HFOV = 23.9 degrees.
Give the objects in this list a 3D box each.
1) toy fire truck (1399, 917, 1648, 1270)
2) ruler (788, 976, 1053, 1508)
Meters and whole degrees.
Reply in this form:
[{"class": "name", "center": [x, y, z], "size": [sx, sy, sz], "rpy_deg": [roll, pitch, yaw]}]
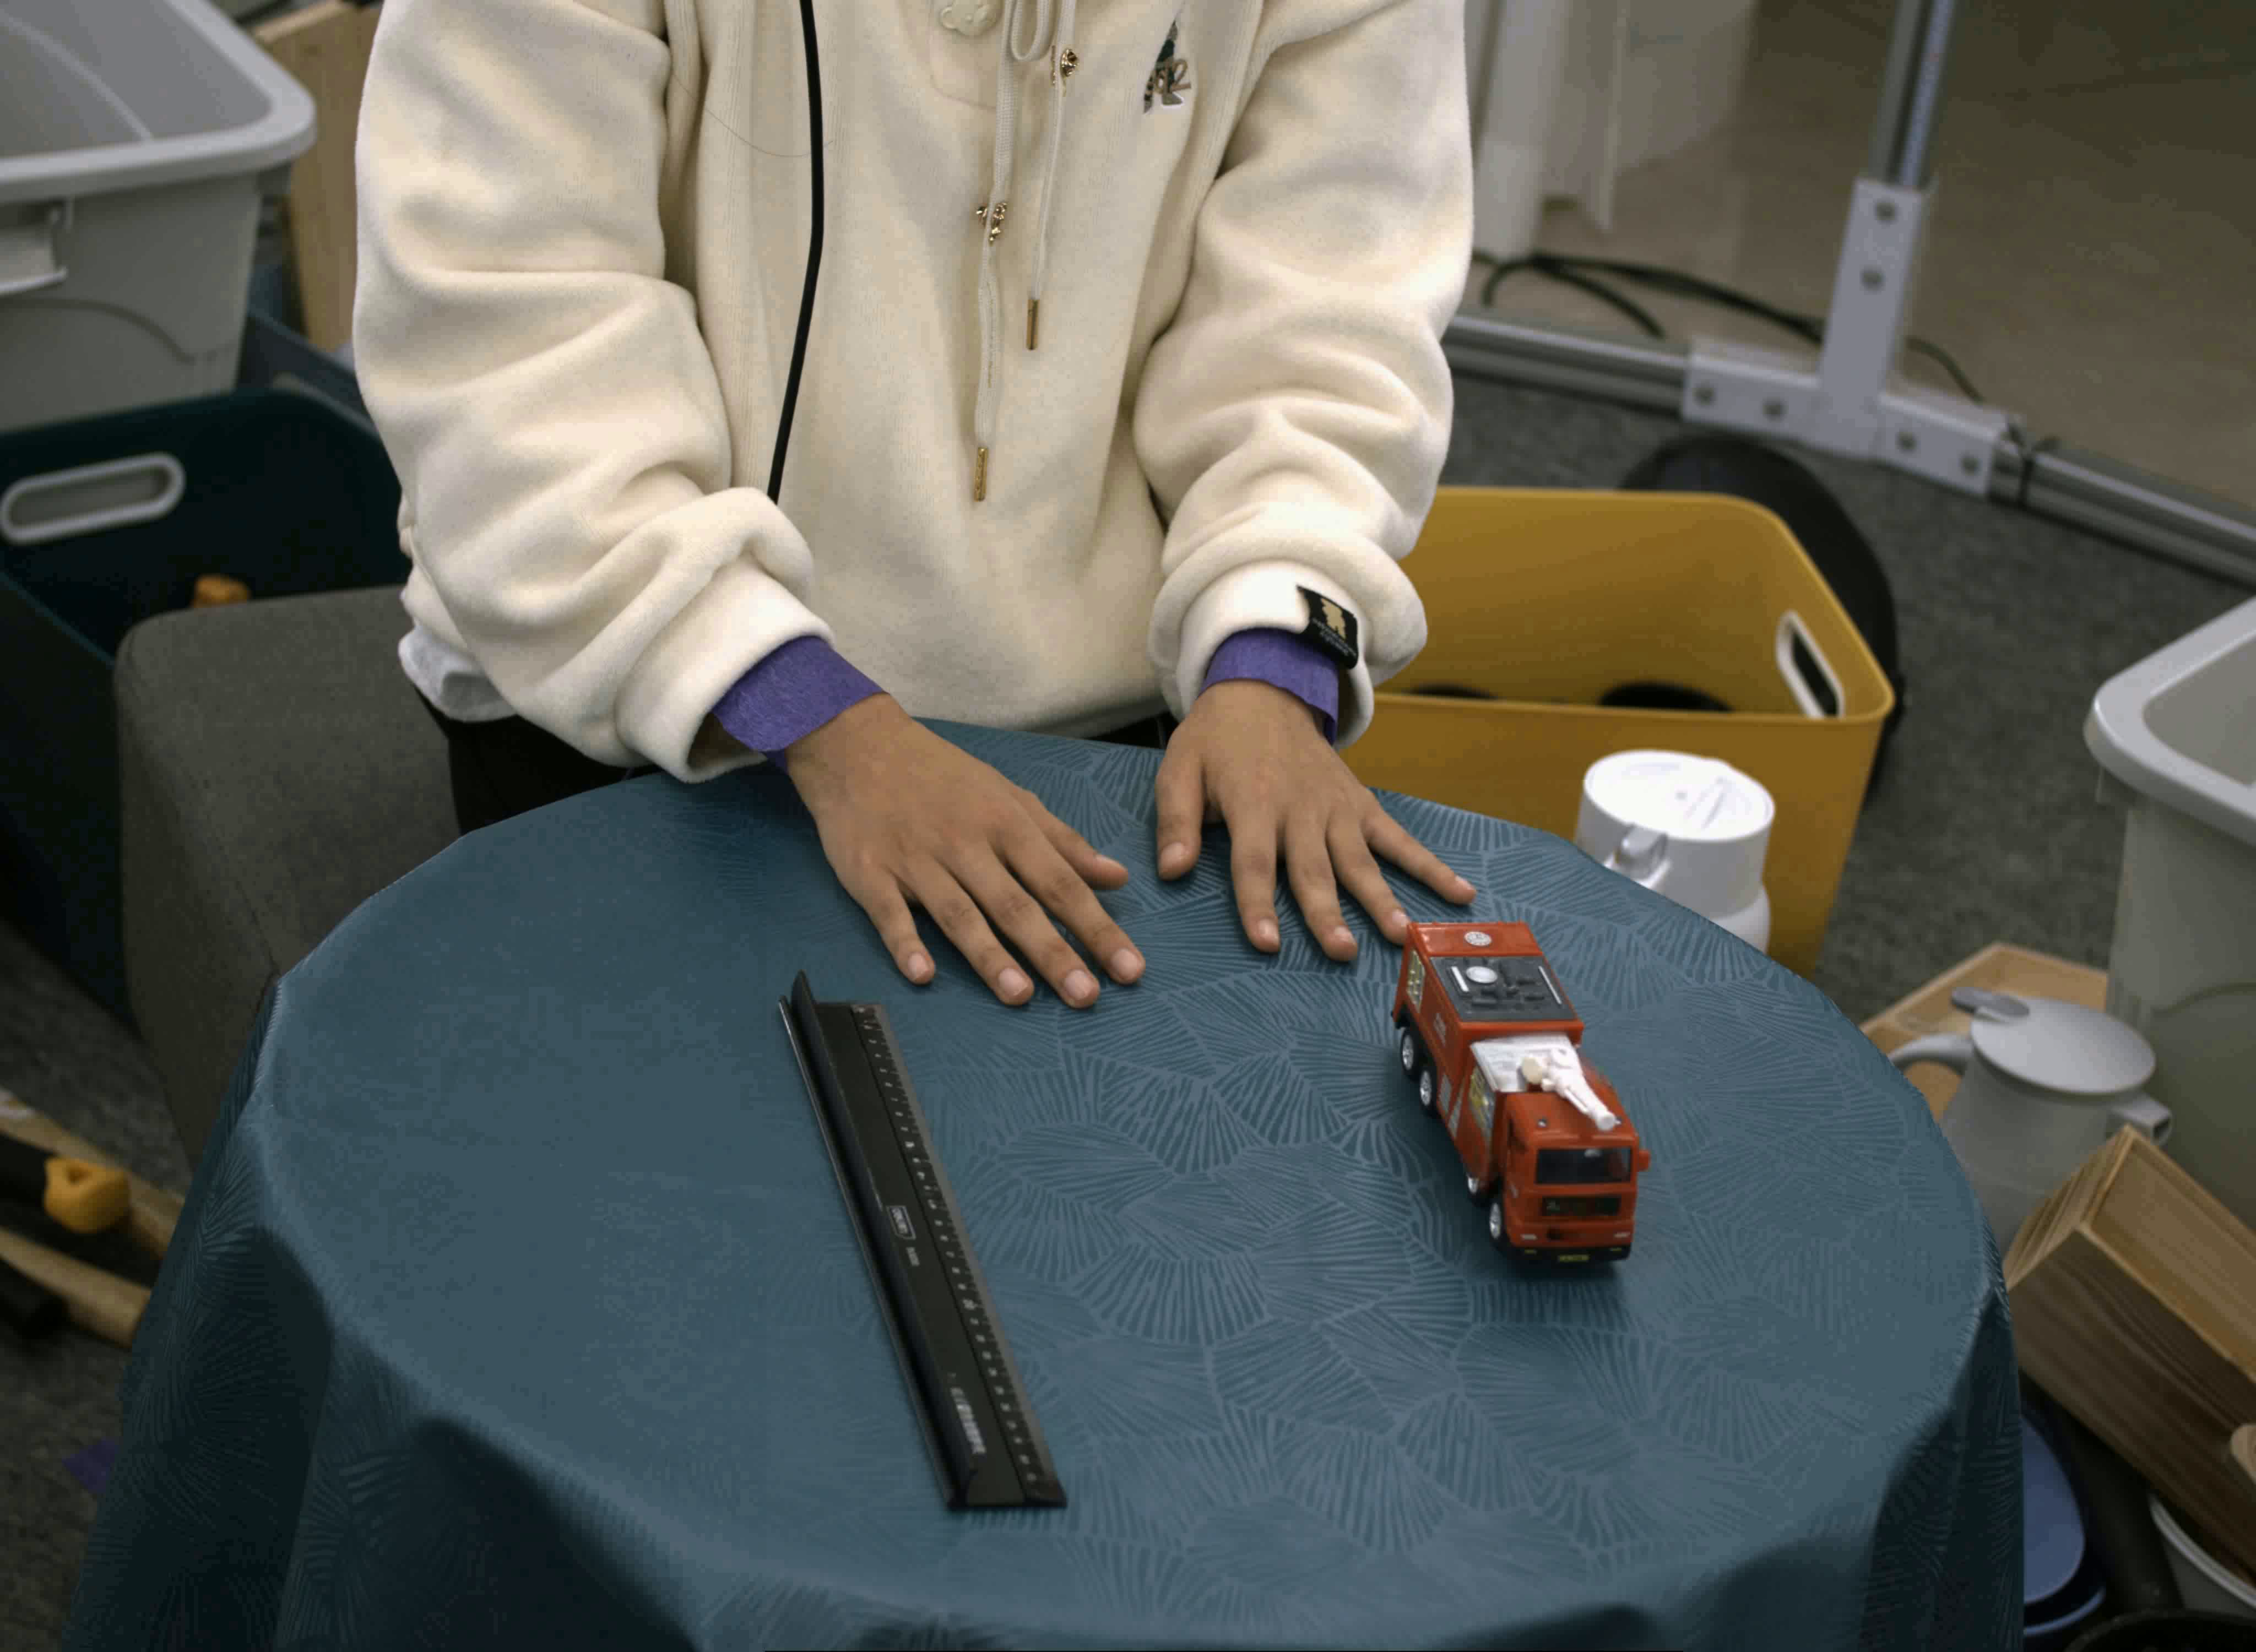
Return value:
[{"class": "toy fire truck", "center": [0.135, 0.091, 1.833], "size": [0.053, 0.070, 0.169], "rpy_deg": [0, 26, -13]}, {"class": "ruler", "center": [-0.070, 0.131, 1.755], "size": [0.039, 0.017, 0.315], "rpy_deg": [3, 26, -15]}]
